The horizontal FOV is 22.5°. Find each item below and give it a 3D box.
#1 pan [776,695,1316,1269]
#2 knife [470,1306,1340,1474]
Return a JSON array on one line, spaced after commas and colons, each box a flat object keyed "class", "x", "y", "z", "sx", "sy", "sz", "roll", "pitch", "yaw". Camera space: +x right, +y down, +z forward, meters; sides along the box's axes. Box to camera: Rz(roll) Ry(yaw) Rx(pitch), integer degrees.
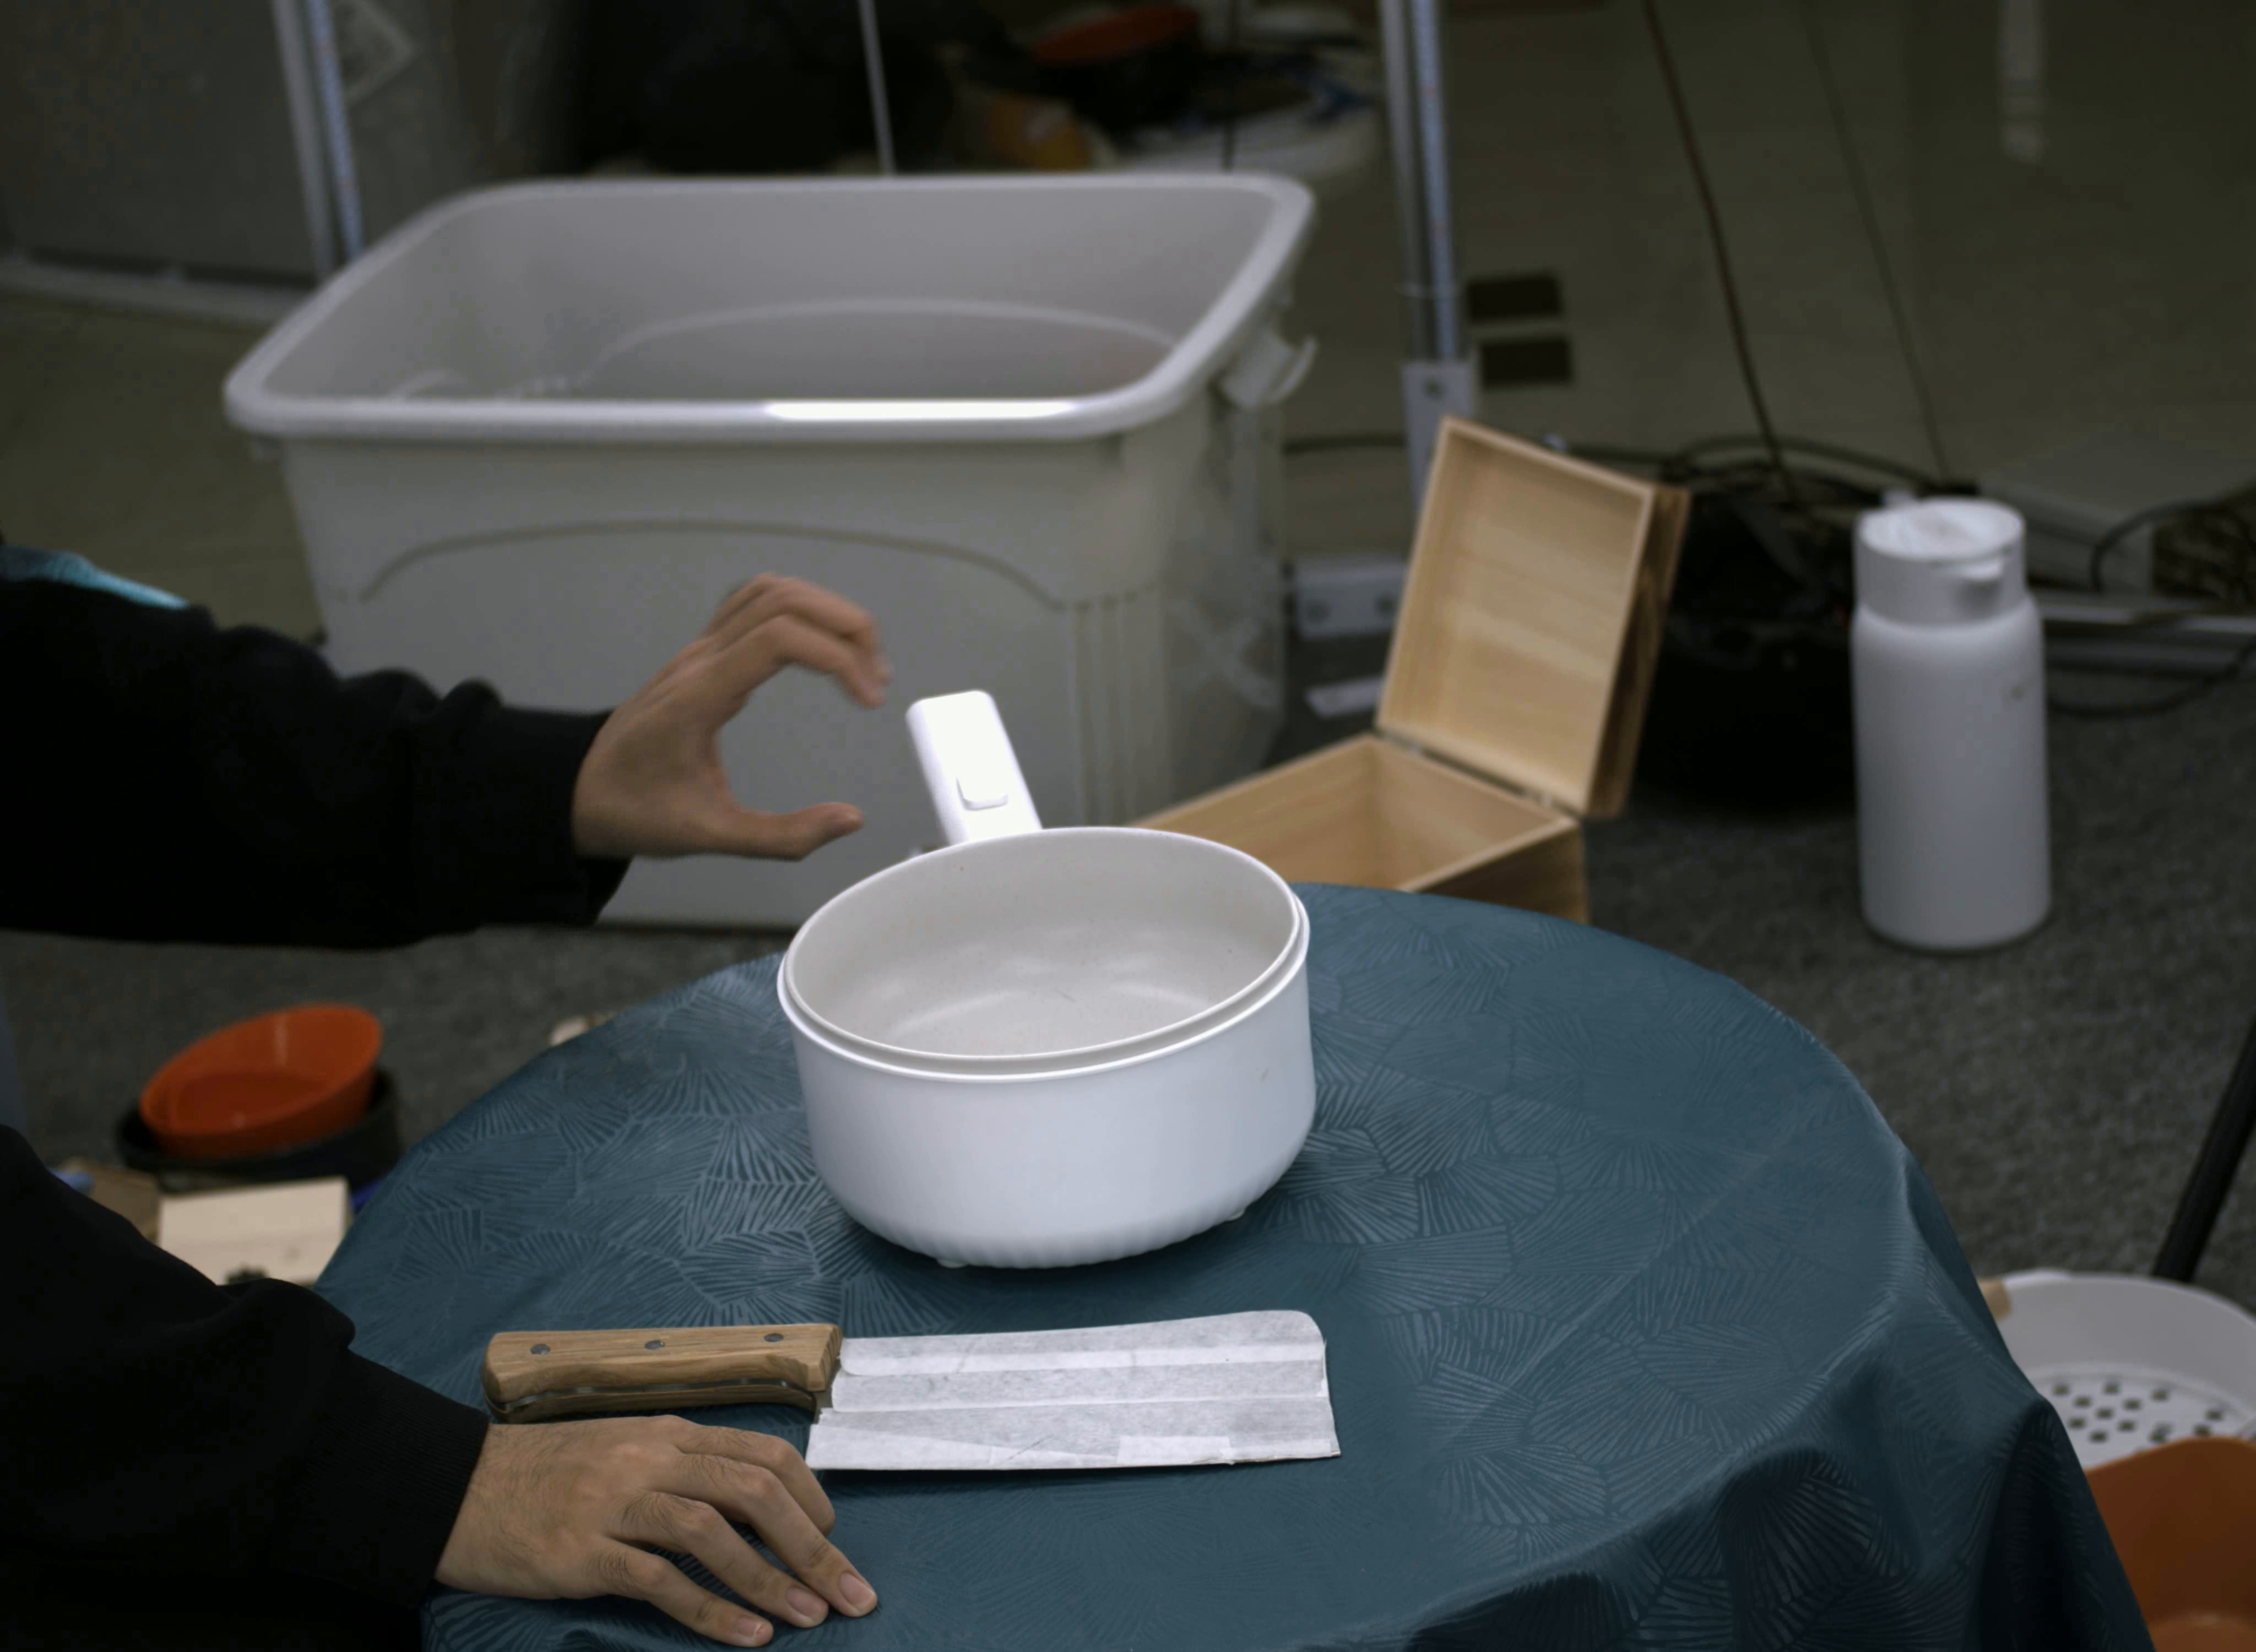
[{"class": "pan", "x": -0.040, "y": 0.058, "z": 2.211, "sx": 0.201, "sy": 0.104, "sz": 0.350, "roll": -10, "pitch": 25, "yaw": -6}, {"class": "knife", "x": -0.079, "y": 0.200, "z": 2.016, "sx": 0.315, "sy": 0.022, "sz": 0.112, "roll": -1, "pitch": 26, "yaw": 6}]
